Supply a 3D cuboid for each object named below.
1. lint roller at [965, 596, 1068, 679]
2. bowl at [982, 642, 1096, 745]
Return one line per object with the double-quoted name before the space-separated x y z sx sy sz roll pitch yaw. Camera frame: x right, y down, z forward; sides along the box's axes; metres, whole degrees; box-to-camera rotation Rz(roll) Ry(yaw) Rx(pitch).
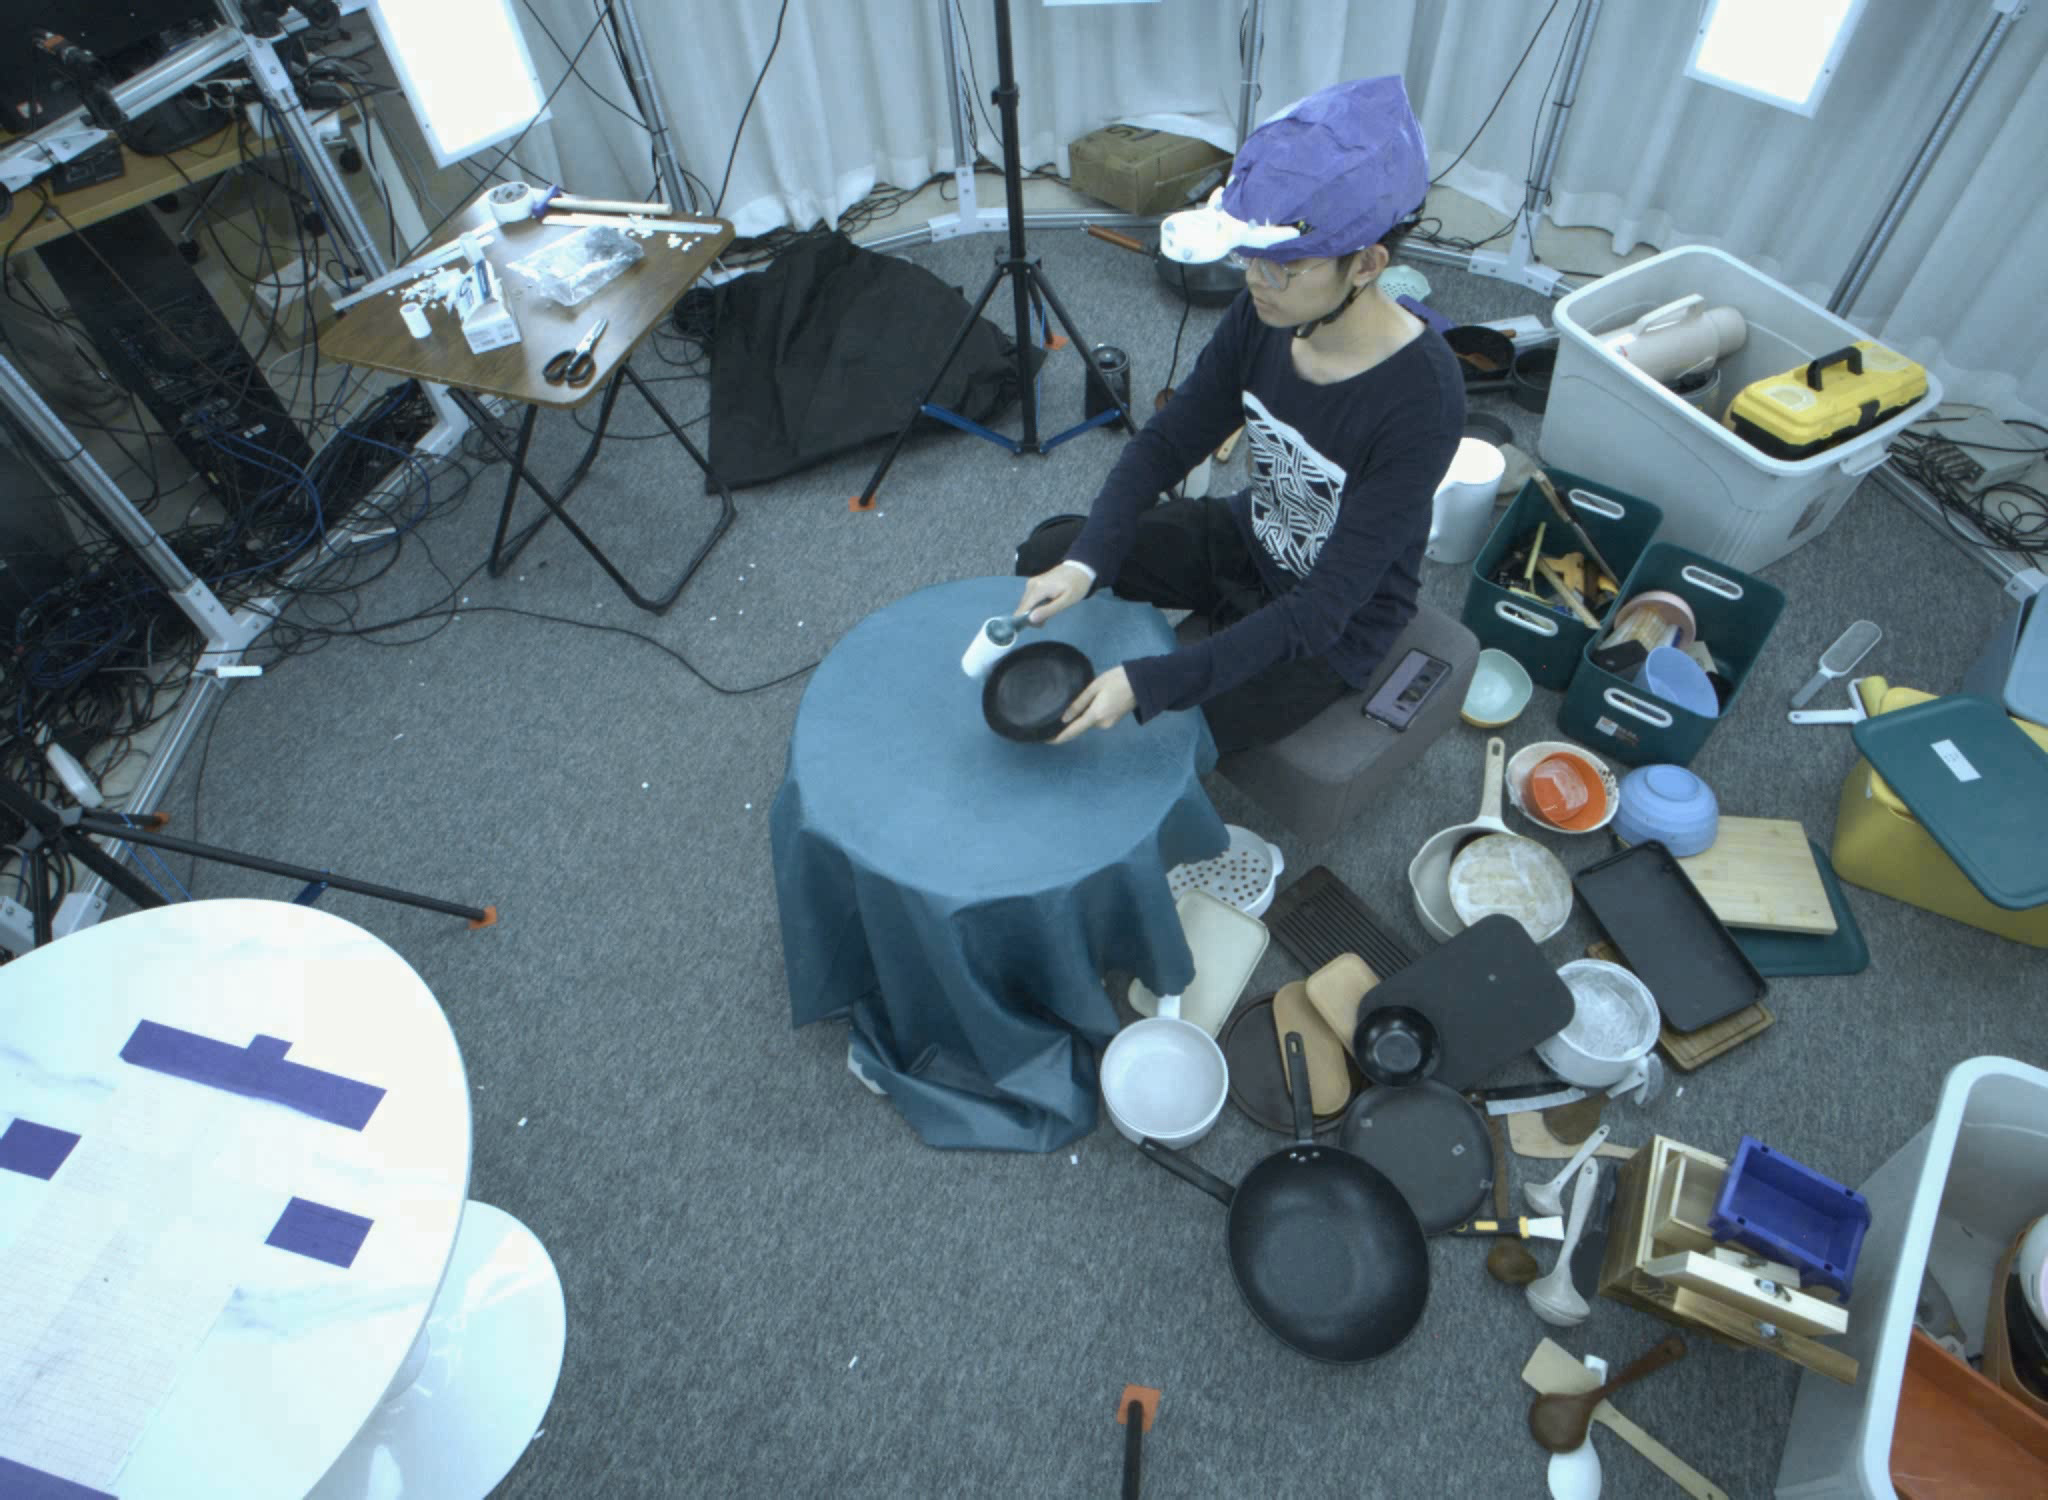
"lint roller" -0.005 -0.182 1.755 0.048 0.133 0.181 43 58 1
"bowl" 0.017 -0.083 1.738 0.171 0.066 0.138 -30 103 -7
